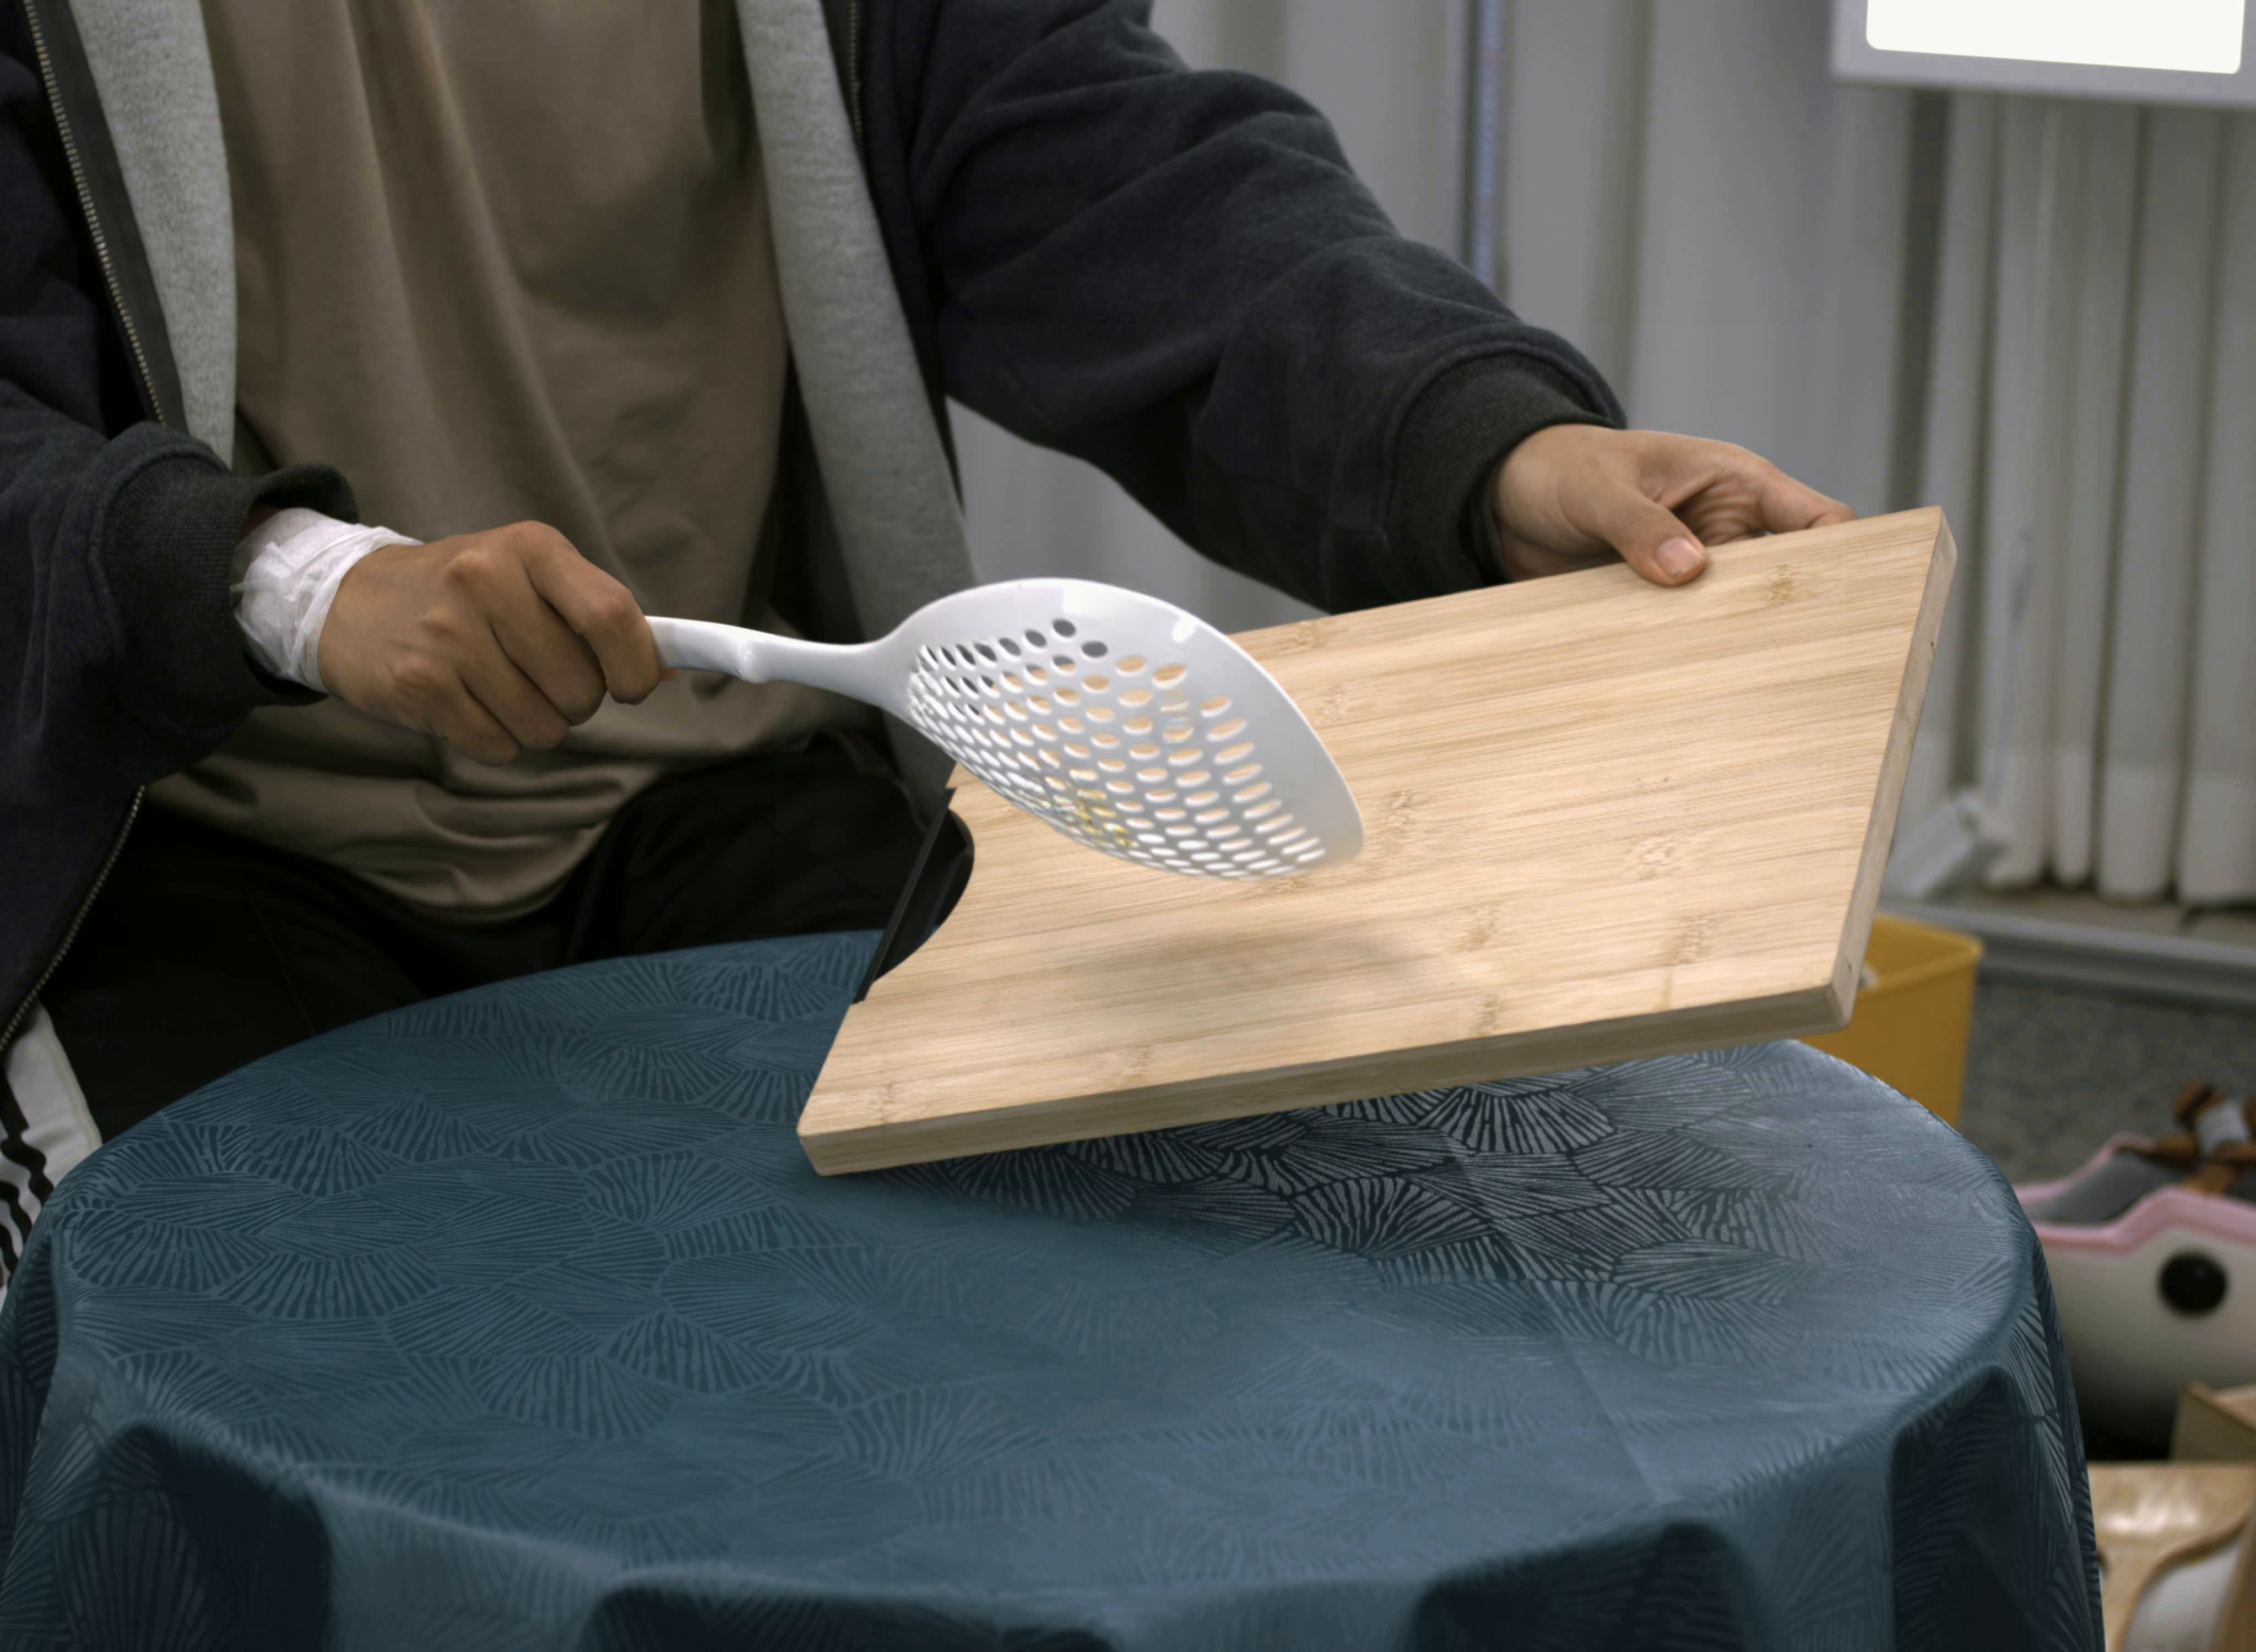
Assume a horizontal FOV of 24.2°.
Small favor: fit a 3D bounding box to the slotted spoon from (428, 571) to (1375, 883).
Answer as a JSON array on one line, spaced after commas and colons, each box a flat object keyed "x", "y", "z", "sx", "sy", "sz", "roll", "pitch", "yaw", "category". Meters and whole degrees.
[{"x": -0.080, "y": -0.039, "z": 1.627, "sx": 0.343, "sy": 0.139, "sz": 0.050, "roll": 15, "pitch": 62, "yaw": 37, "category": "slotted spoon"}]

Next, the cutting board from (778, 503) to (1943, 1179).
[{"x": 0.076, "y": 0.005, "z": 1.653, "sx": 0.346, "sy": 0.024, "sz": 0.249, "roll": -10, "pitch": 34, "yaw": 23, "category": "cutting board"}]
